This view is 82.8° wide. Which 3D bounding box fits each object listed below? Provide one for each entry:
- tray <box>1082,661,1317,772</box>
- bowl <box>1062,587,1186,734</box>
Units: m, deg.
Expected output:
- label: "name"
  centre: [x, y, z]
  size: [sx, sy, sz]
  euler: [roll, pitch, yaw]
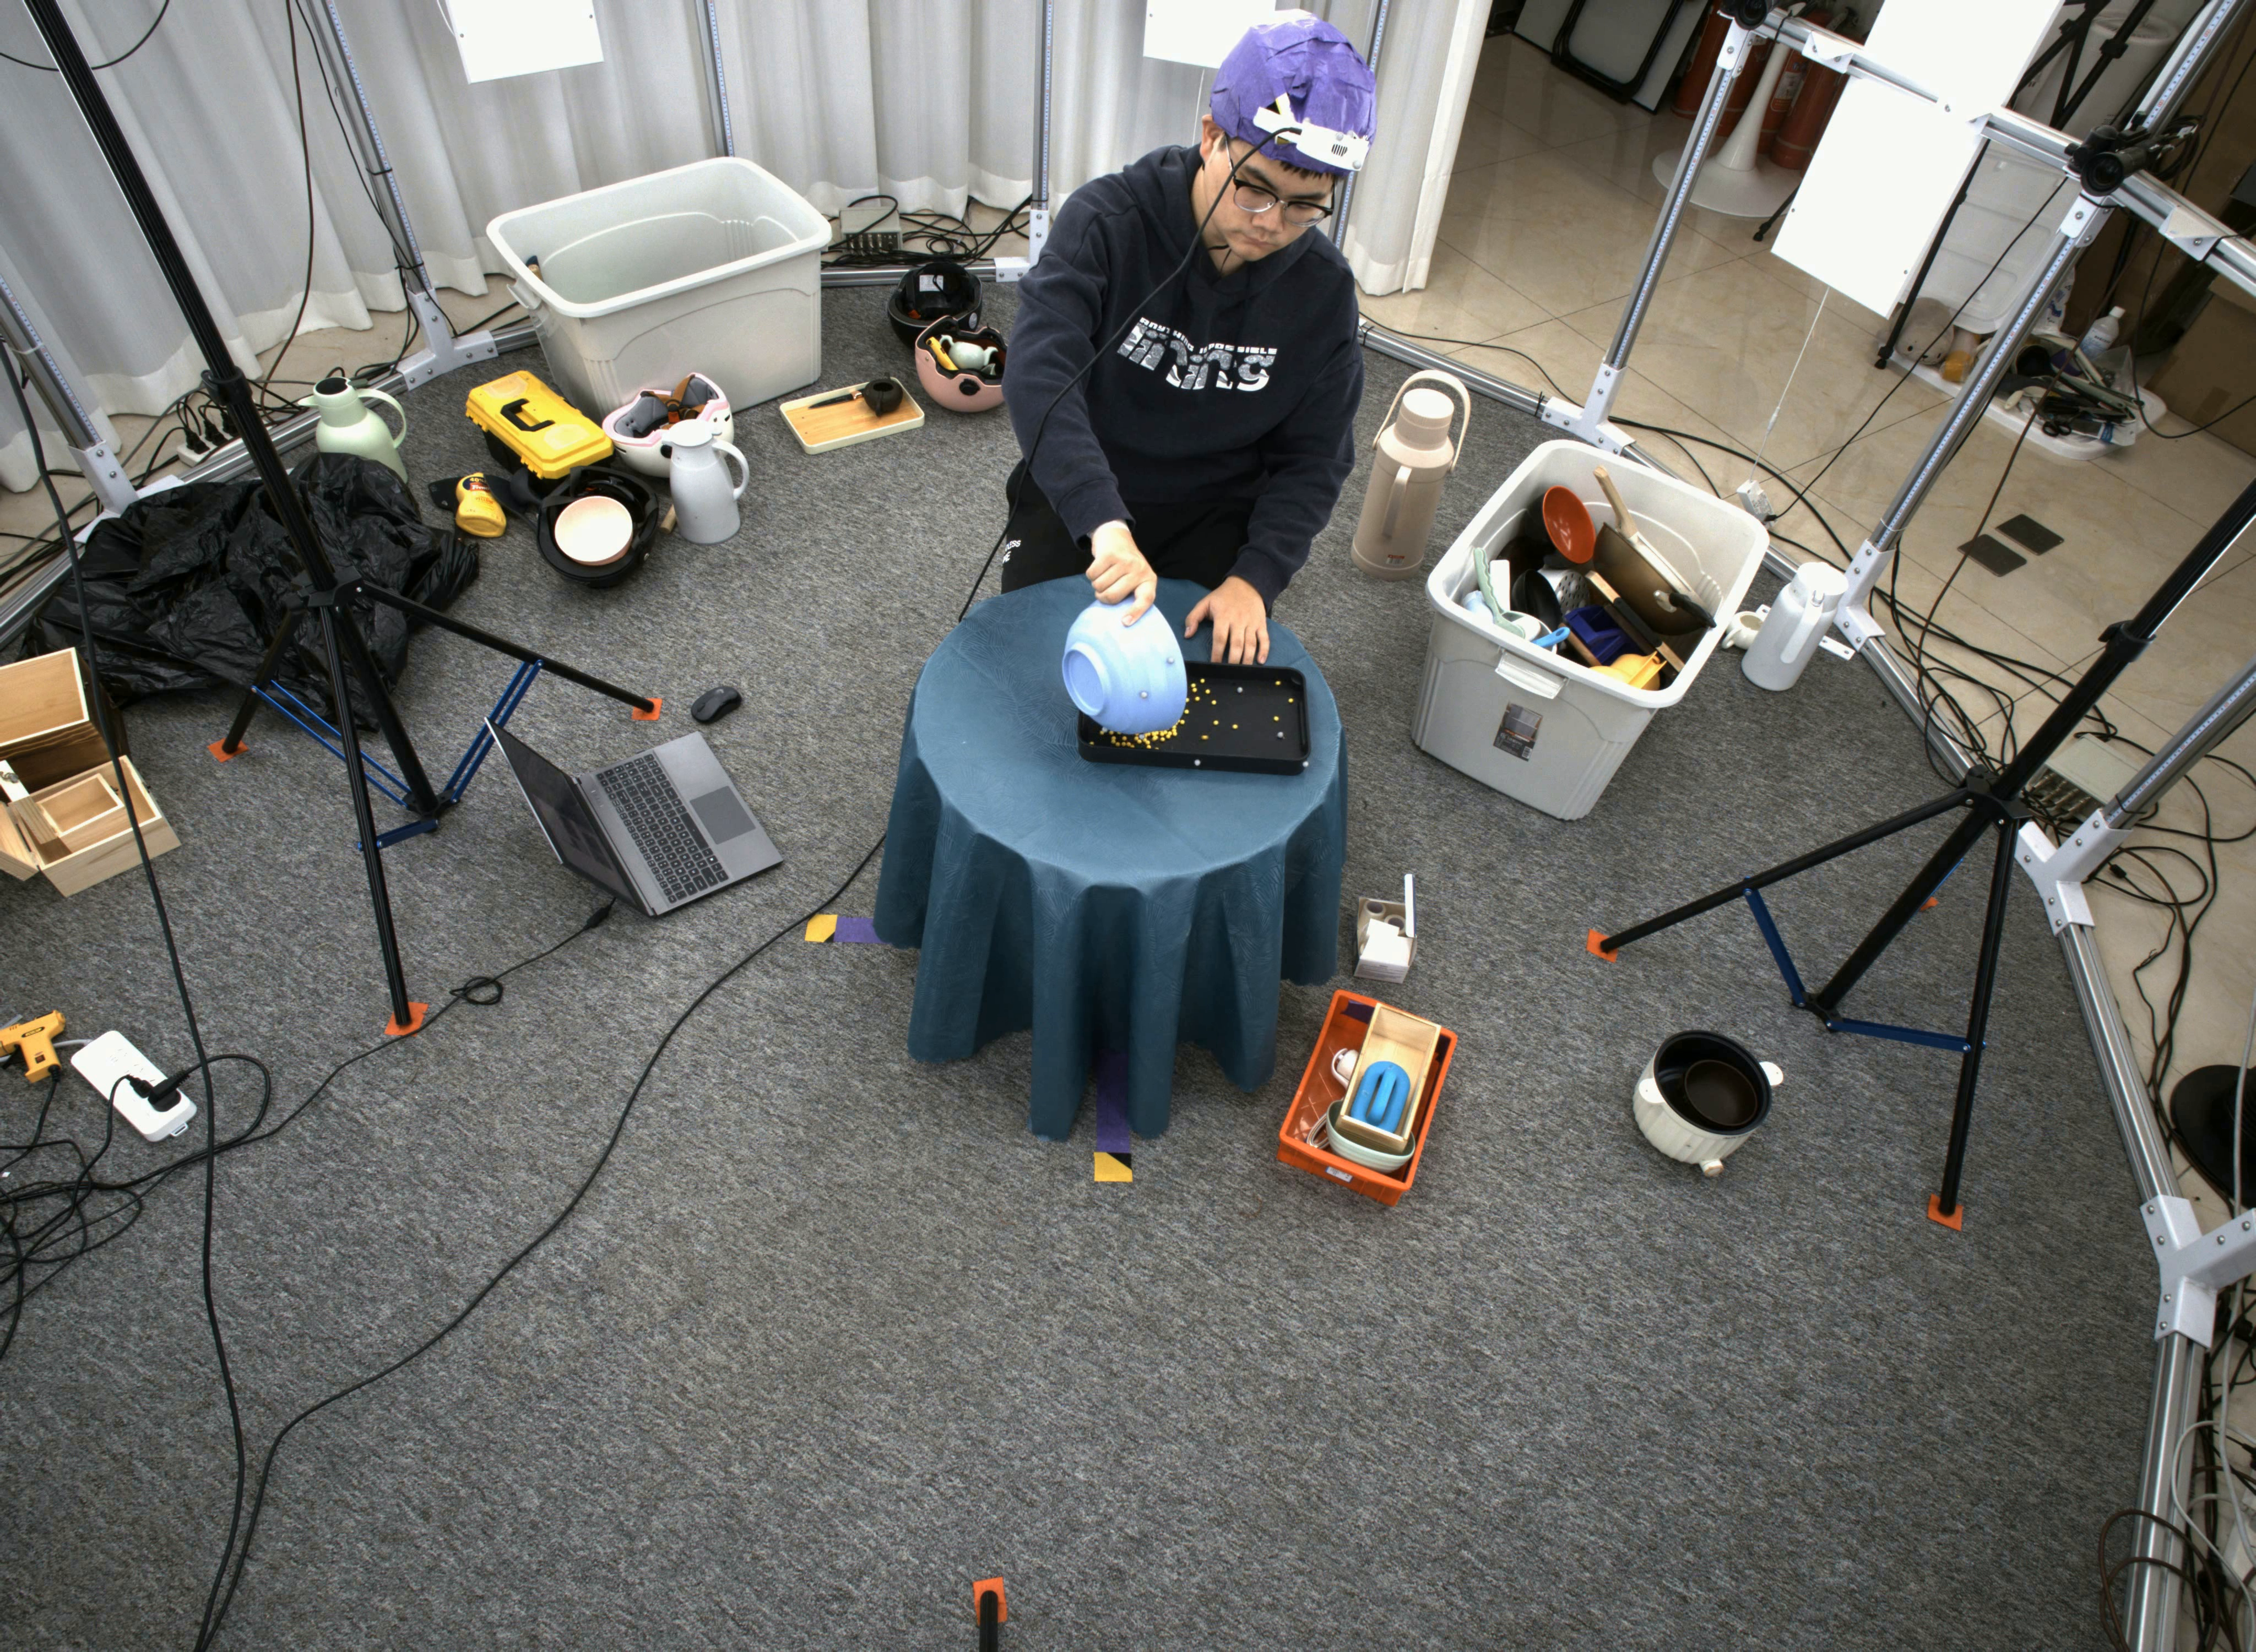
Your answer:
- label: "tray"
  centre: [0.096, -0.156, 1.787]
  size: [0.318, 0.036, 0.189]
  euler: [2, 48, -1]
- label: "bowl"
  centre: [-0.022, -0.201, 1.661]
  size: [0.096, 0.192, 0.200]
  euler: [-23, 55, -27]
